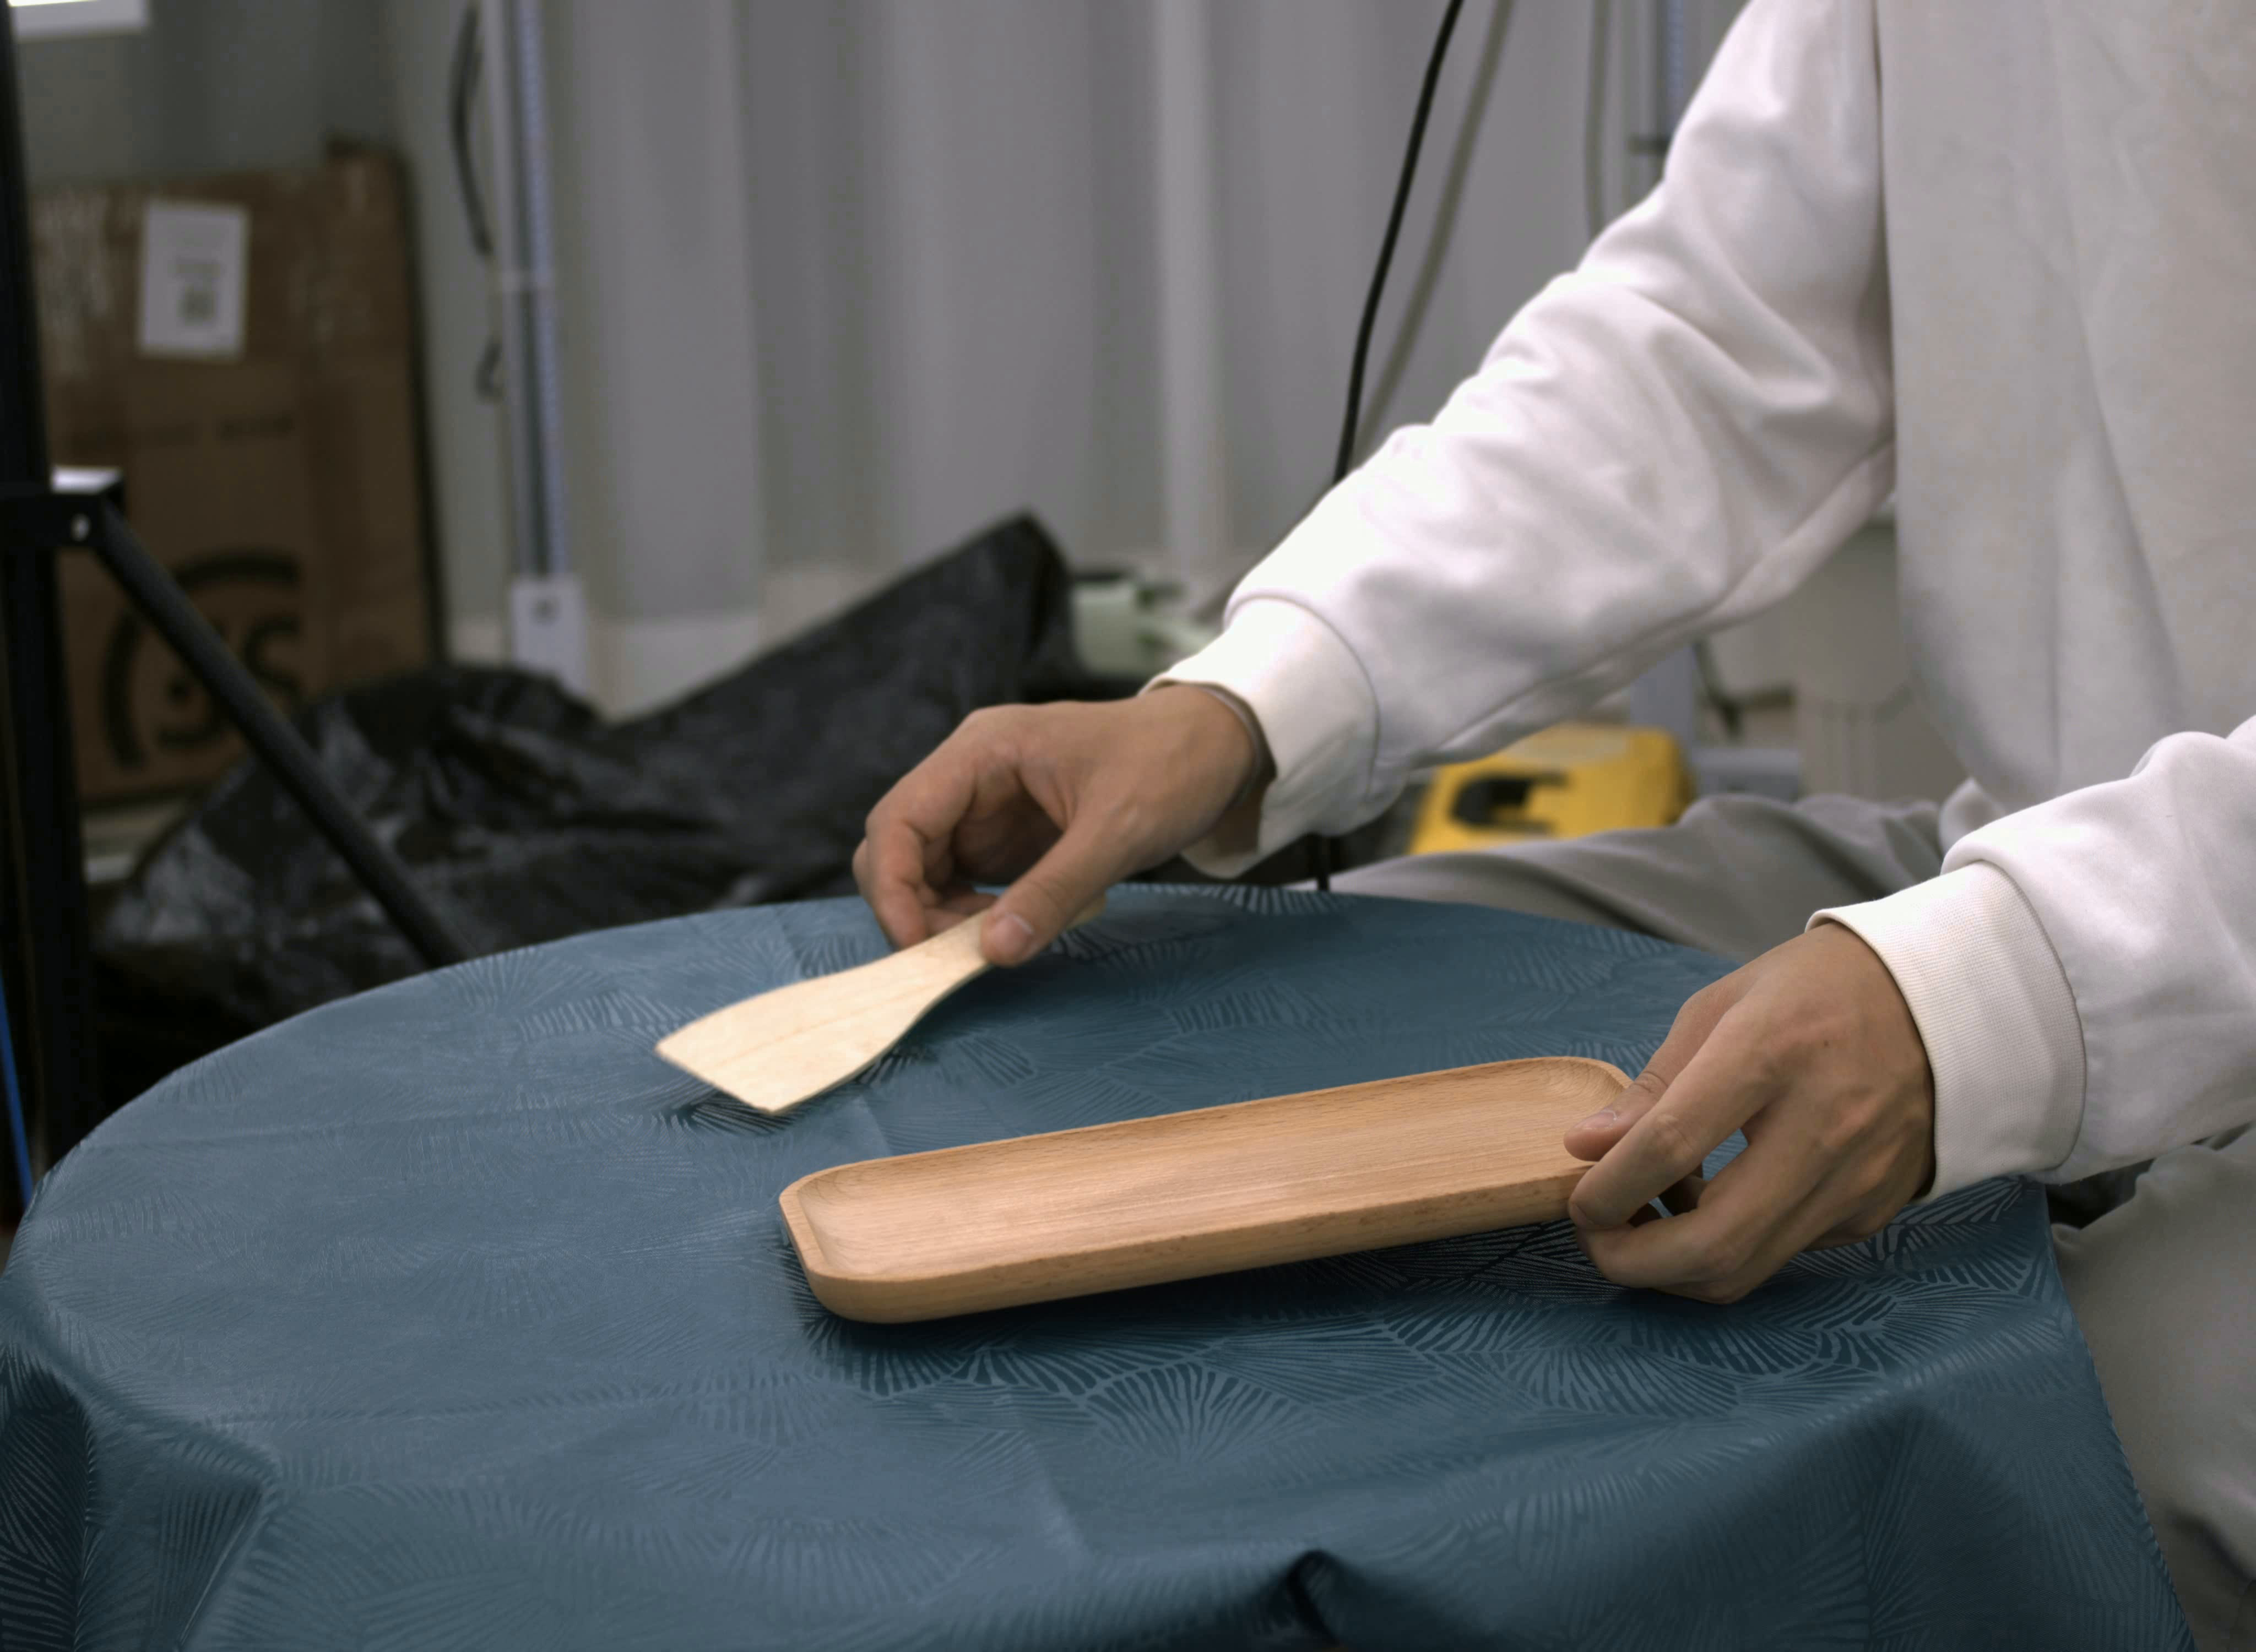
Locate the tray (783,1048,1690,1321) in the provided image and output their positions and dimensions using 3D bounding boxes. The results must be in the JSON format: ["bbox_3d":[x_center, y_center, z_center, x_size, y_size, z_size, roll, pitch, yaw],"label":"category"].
[{"bbox_3d":[0.030,0.101,1.505,0.248,0.023,0.132,-8,14,-6],"label":"tray"}]

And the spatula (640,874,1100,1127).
[{"bbox_3d":[-0.074,0.052,1.712,0.051,0.005,0.204,22,31,29],"label":"spatula"}]
